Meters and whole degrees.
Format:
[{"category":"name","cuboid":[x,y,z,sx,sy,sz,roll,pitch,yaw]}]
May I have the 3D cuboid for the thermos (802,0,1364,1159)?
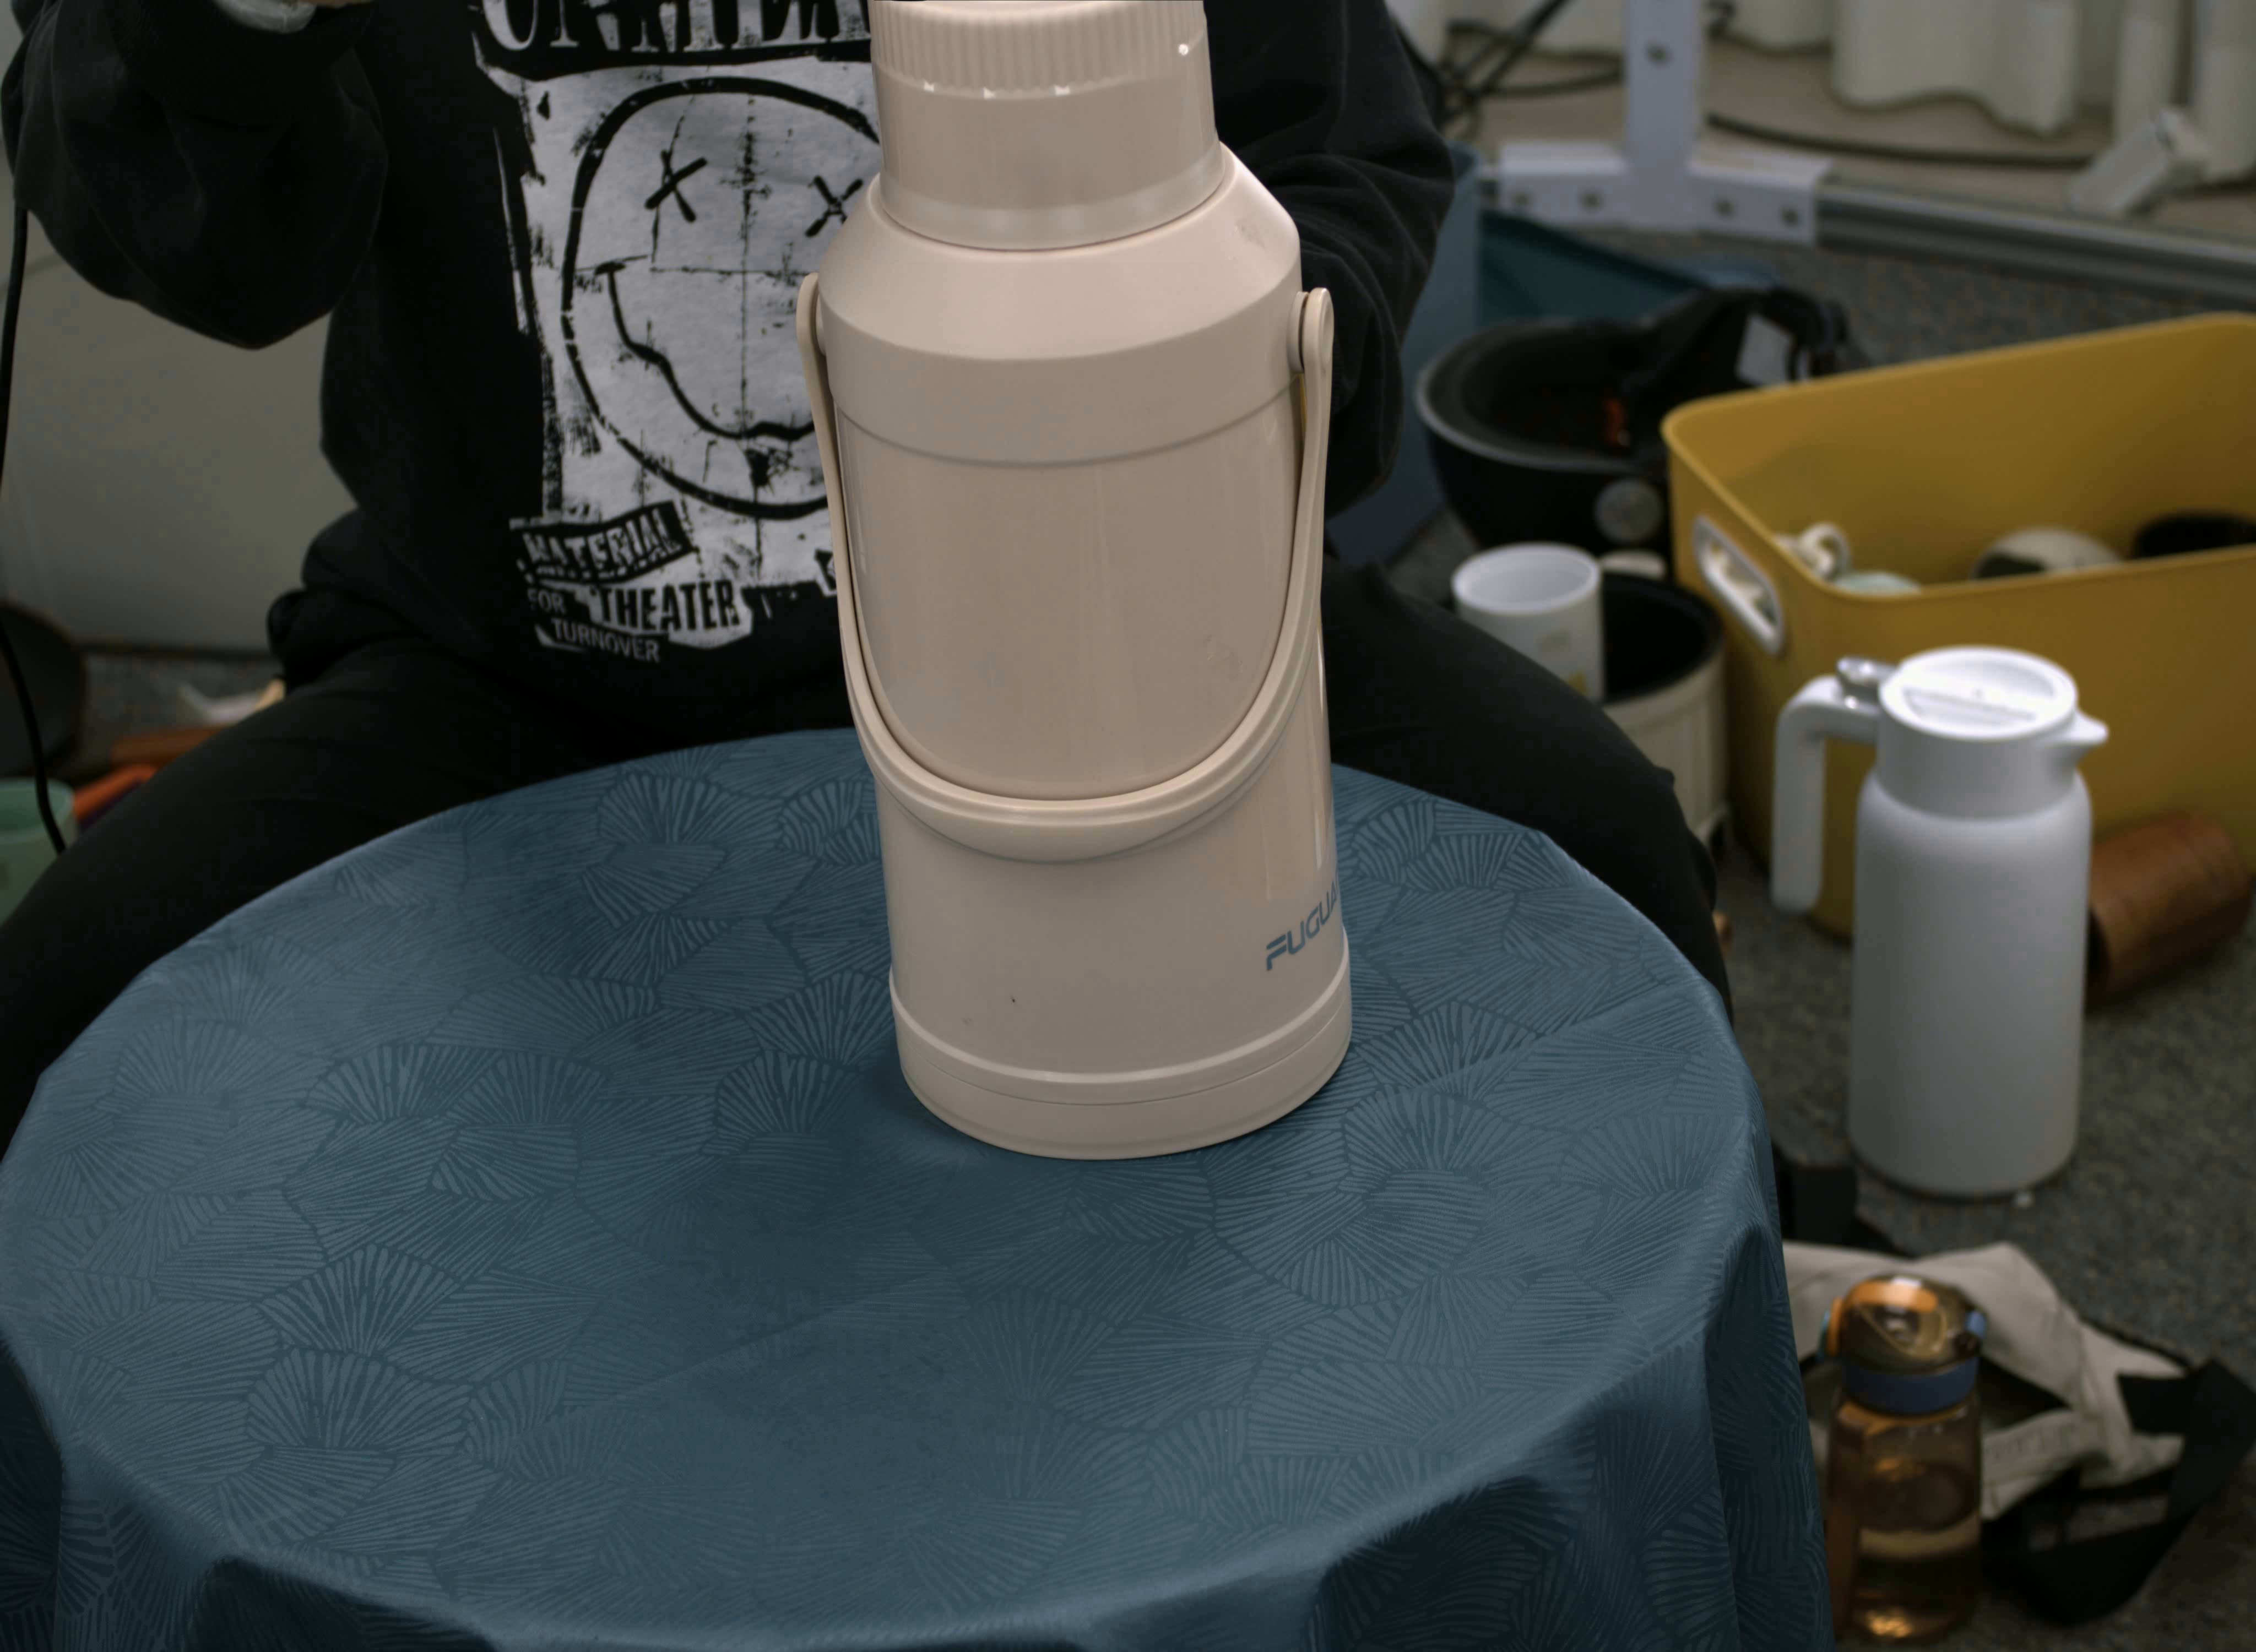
[{"category":"thermos","cuboid":[-0.008,-0.106,1.870,0.174,0.402,0.211,1,28,14]}]
